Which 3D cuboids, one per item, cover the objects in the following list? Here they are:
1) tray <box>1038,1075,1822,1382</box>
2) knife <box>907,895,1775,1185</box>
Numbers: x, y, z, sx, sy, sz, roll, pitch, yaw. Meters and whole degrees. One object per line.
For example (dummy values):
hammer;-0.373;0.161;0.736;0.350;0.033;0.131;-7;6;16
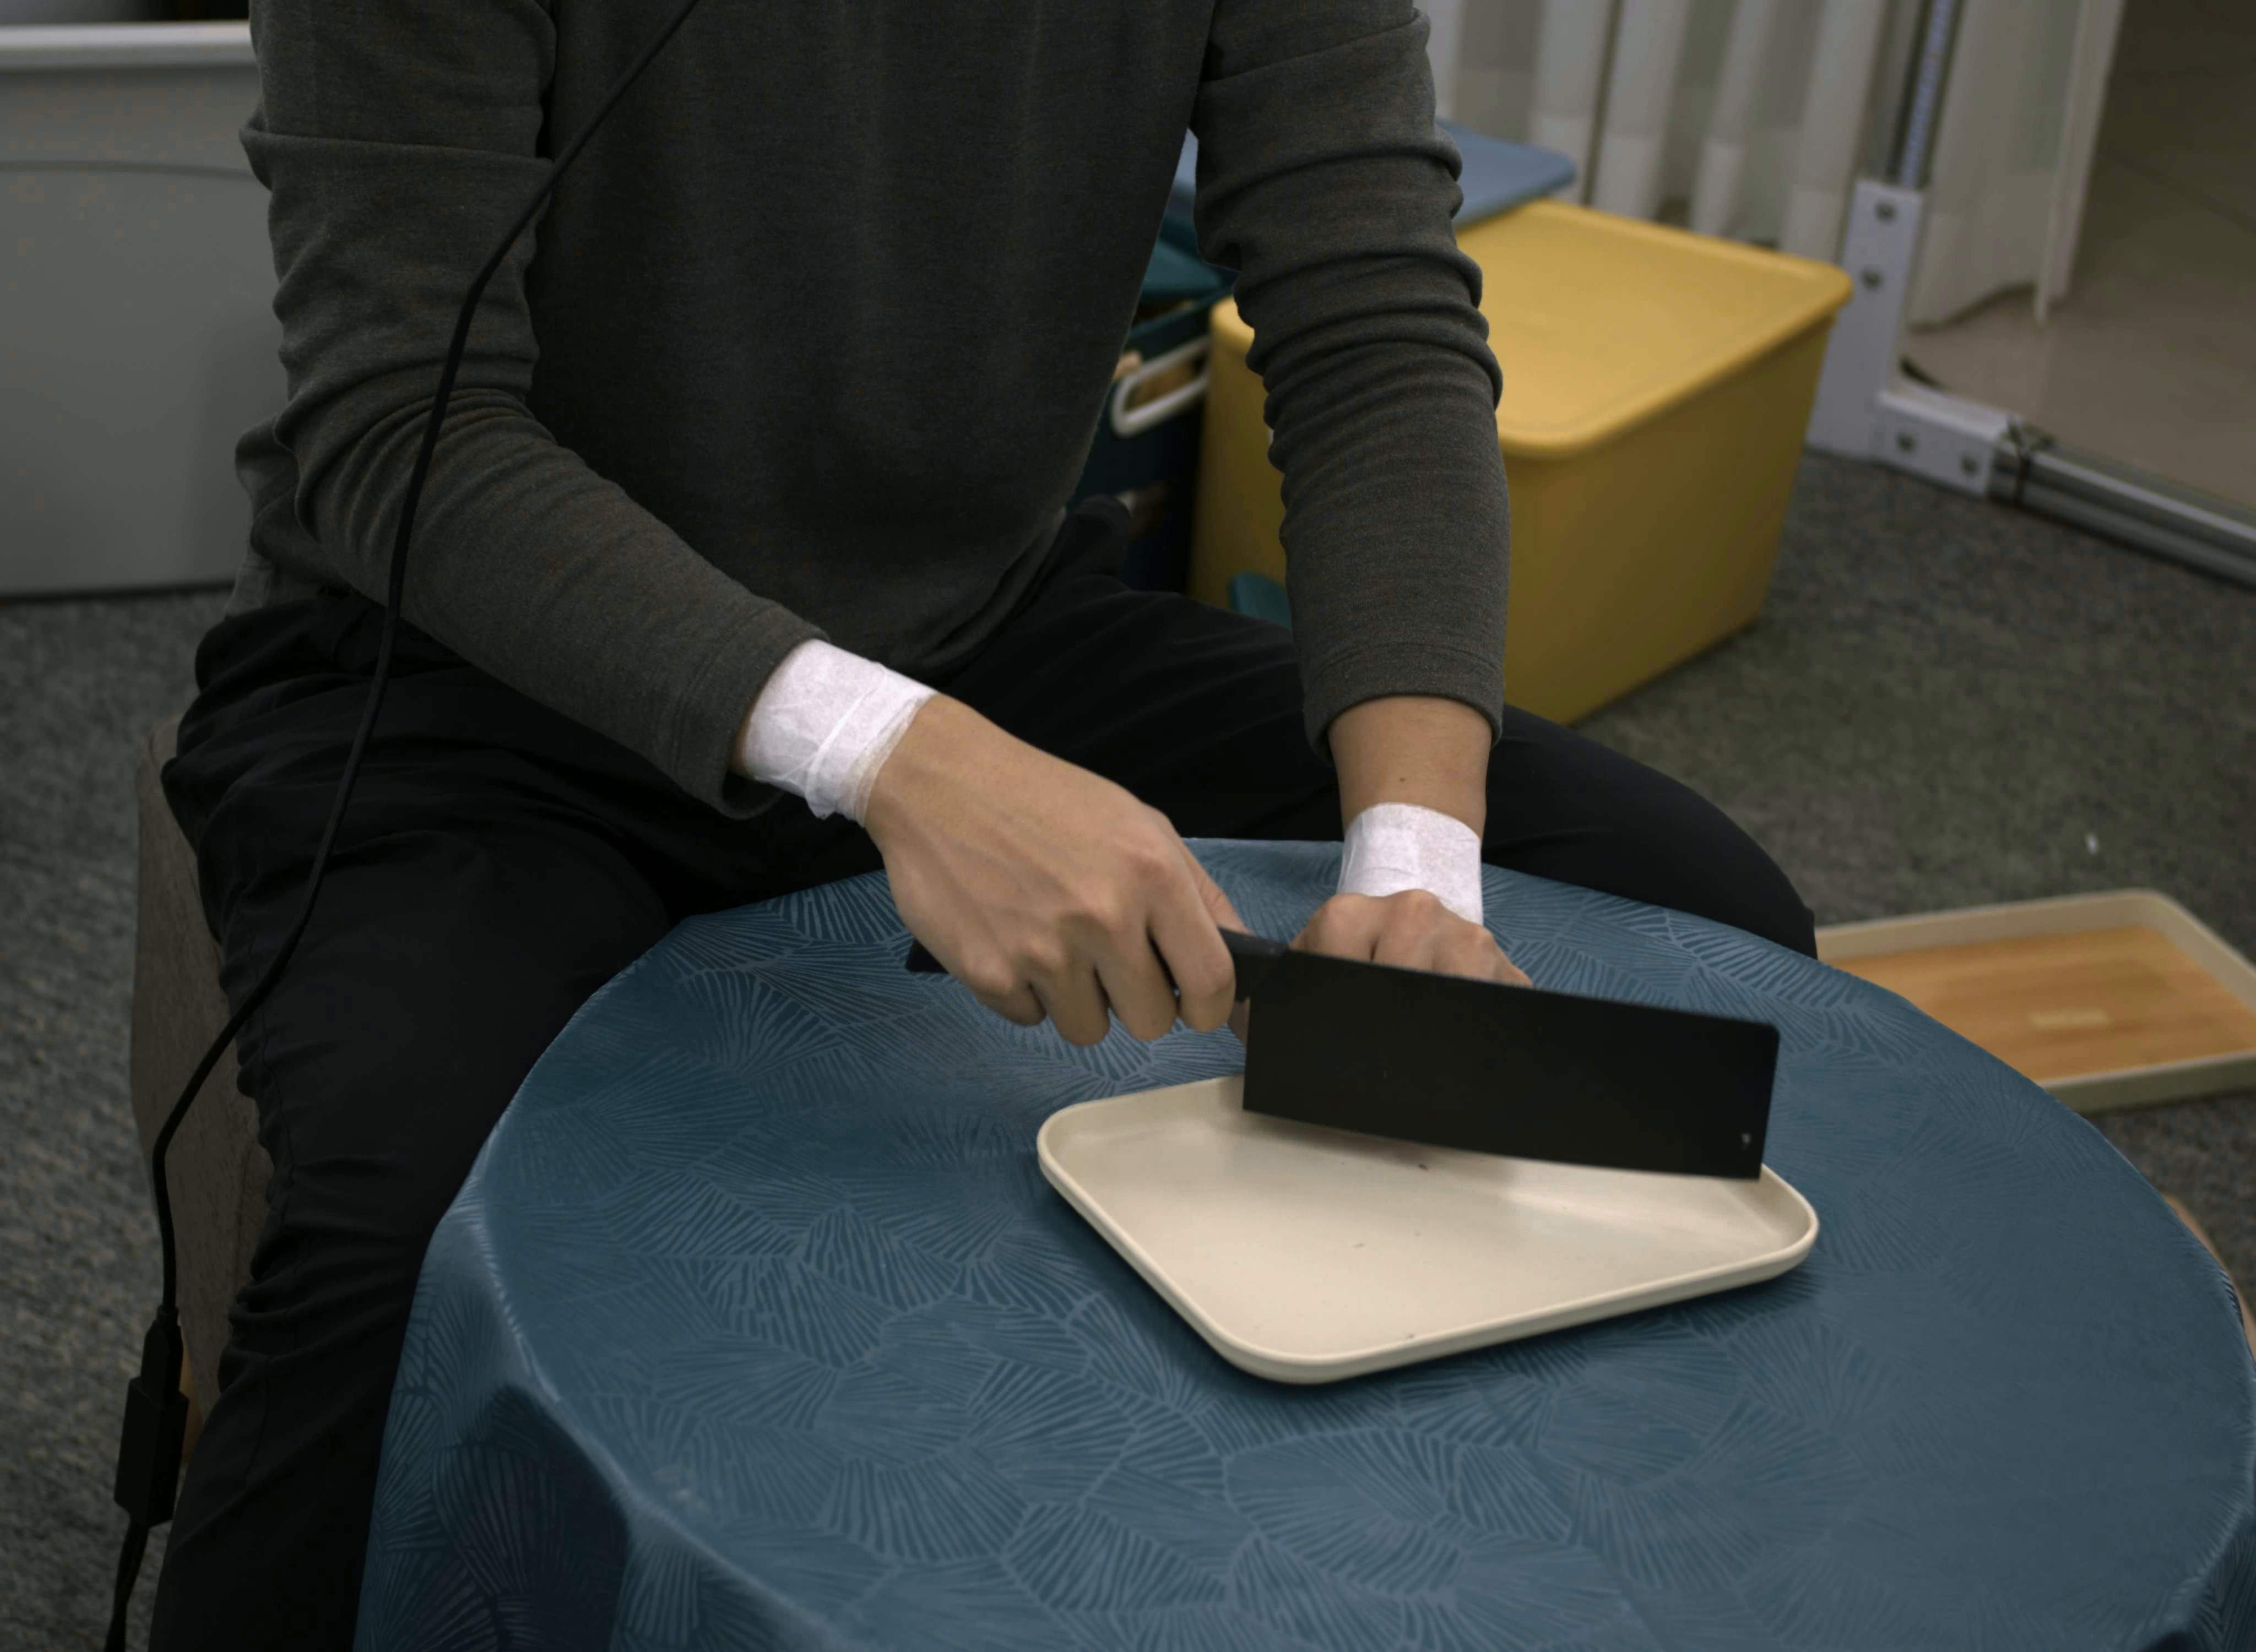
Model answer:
tray;0.102;0.126;1.803;0.238;0.017;0.173;-10;30;-29
knife;0.071;0.071;1.817;0.302;0.081;0.021;13;25;9
